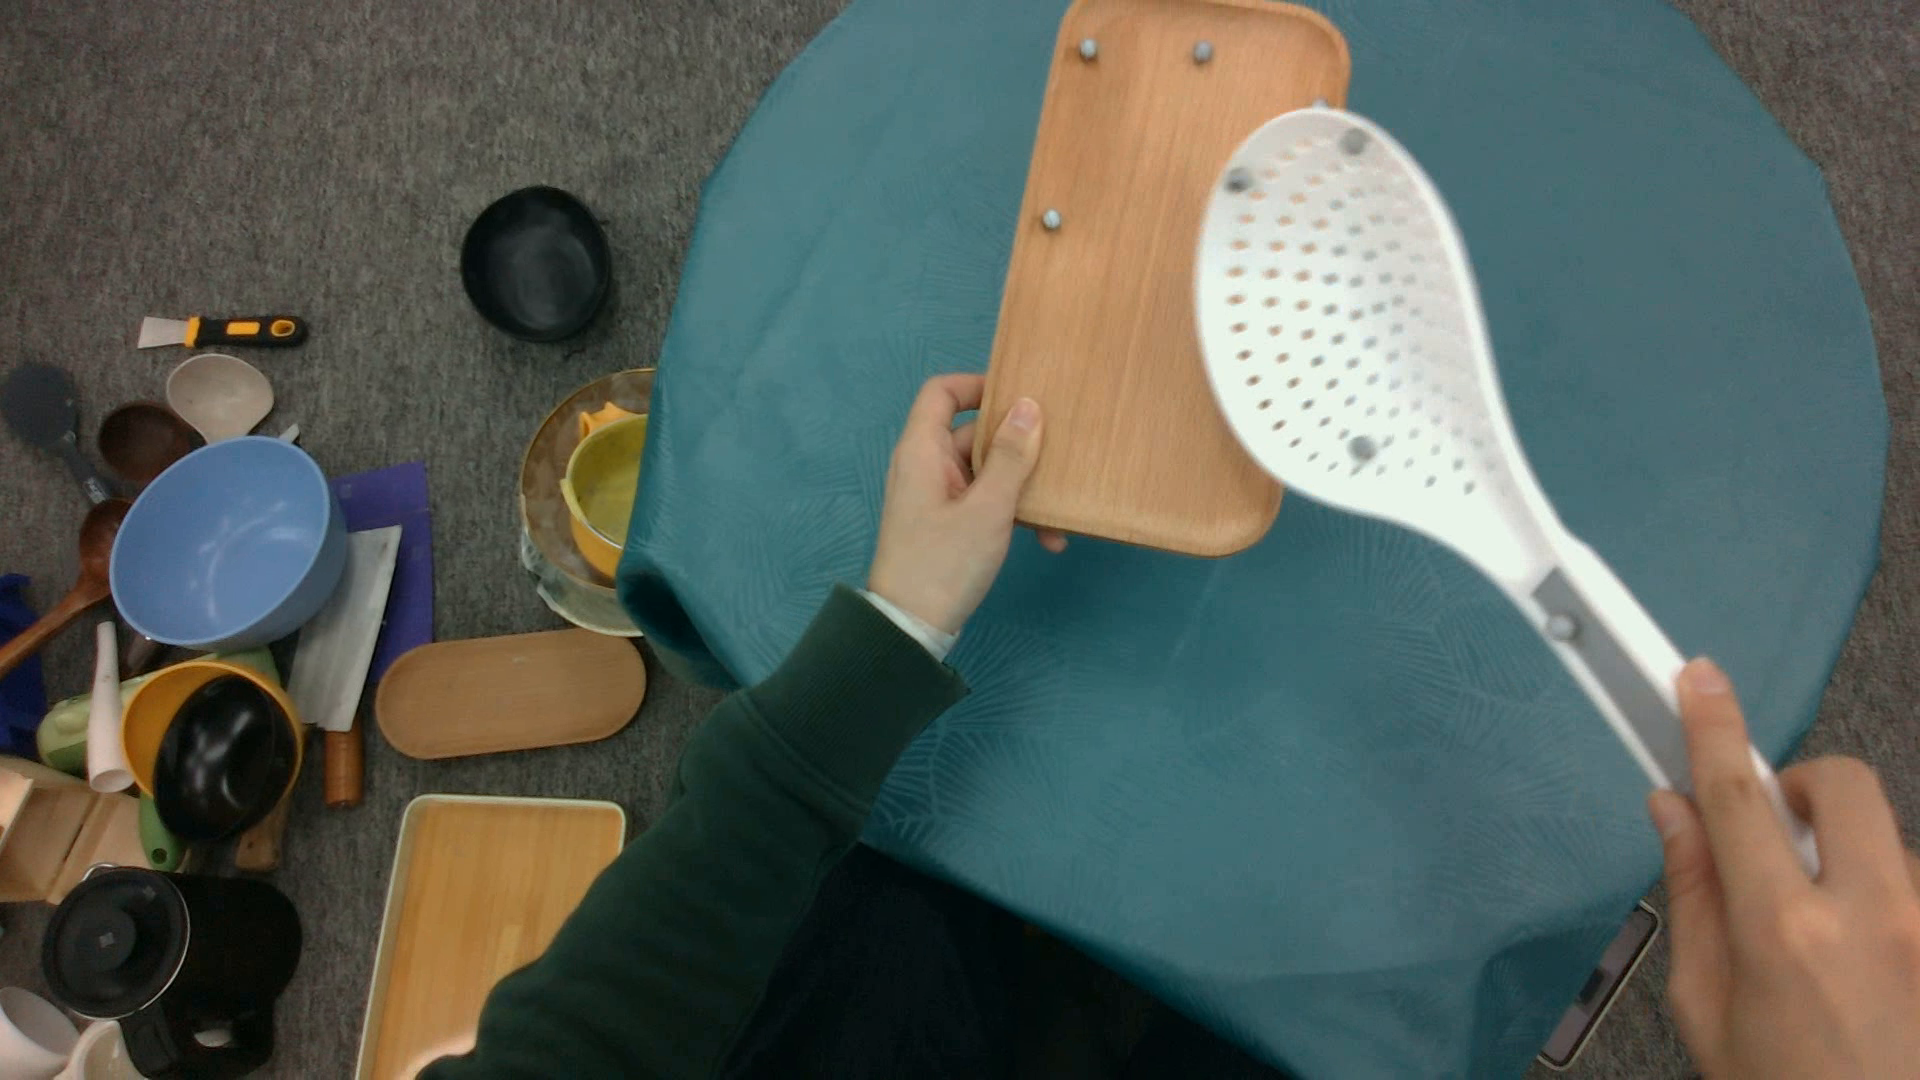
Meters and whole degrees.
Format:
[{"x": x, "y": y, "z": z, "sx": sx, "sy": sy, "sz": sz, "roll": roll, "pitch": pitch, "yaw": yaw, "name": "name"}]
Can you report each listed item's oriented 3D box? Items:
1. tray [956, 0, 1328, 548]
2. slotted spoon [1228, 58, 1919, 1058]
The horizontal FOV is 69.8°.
[{"x": 0.080, "y": -0.123, "z": 0.586, "sx": 0.130, "sy": 0.023, "sz": 0.251, "roll": 11, "pitch": 78, "yaw": 4, "name": "tray"}, {"x": 0.176, "y": -0.014, "z": 0.429, "sx": 0.046, "sy": 0.135, "sz": 0.351, "roll": -6, "pitch": 55, "yaw": -18, "name": "slotted spoon"}]
